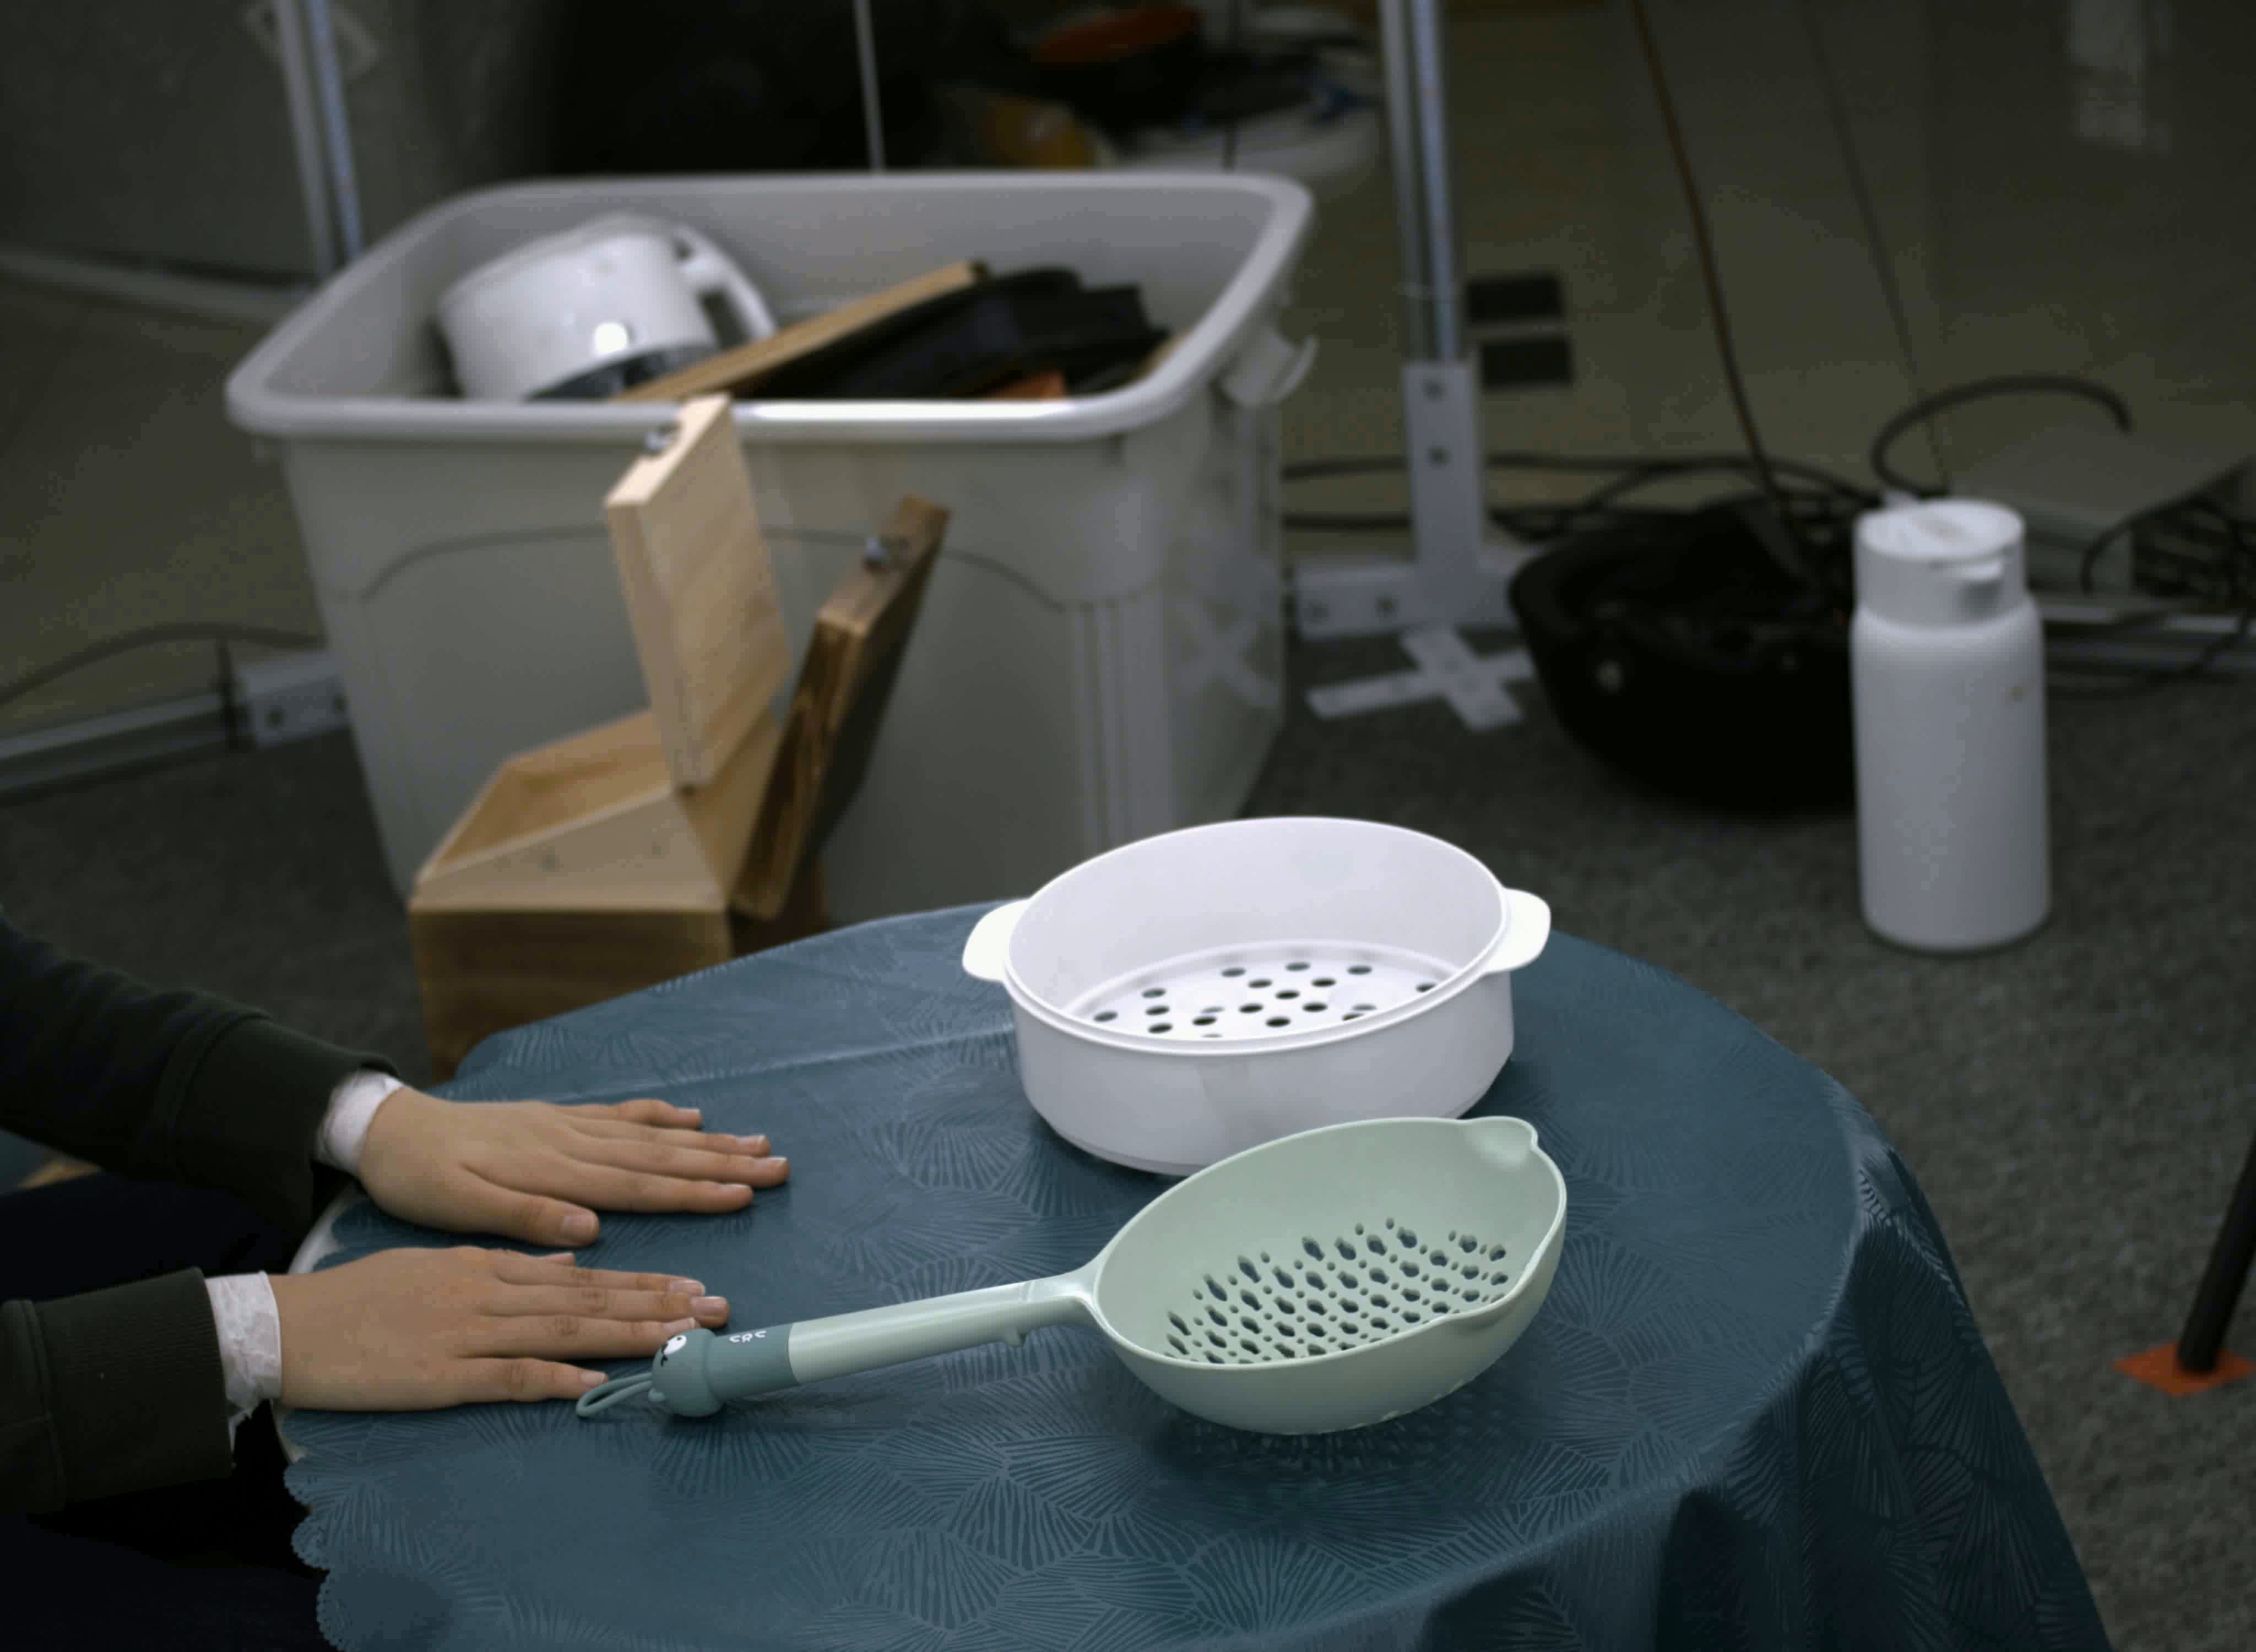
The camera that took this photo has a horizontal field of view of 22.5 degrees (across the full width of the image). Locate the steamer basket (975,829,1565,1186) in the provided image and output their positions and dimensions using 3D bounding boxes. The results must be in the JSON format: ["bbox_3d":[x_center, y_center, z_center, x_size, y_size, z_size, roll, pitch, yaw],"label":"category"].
[{"bbox_3d":[0.057,0.071,2.210,0.230,0.070,0.199,-2,24,10],"label":"steamer basket"}]

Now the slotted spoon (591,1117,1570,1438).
[{"bbox_3d":[-0.021,0.173,2.008,0.358,0.076,0.167,-3,25,8],"label":"slotted spoon"}]
